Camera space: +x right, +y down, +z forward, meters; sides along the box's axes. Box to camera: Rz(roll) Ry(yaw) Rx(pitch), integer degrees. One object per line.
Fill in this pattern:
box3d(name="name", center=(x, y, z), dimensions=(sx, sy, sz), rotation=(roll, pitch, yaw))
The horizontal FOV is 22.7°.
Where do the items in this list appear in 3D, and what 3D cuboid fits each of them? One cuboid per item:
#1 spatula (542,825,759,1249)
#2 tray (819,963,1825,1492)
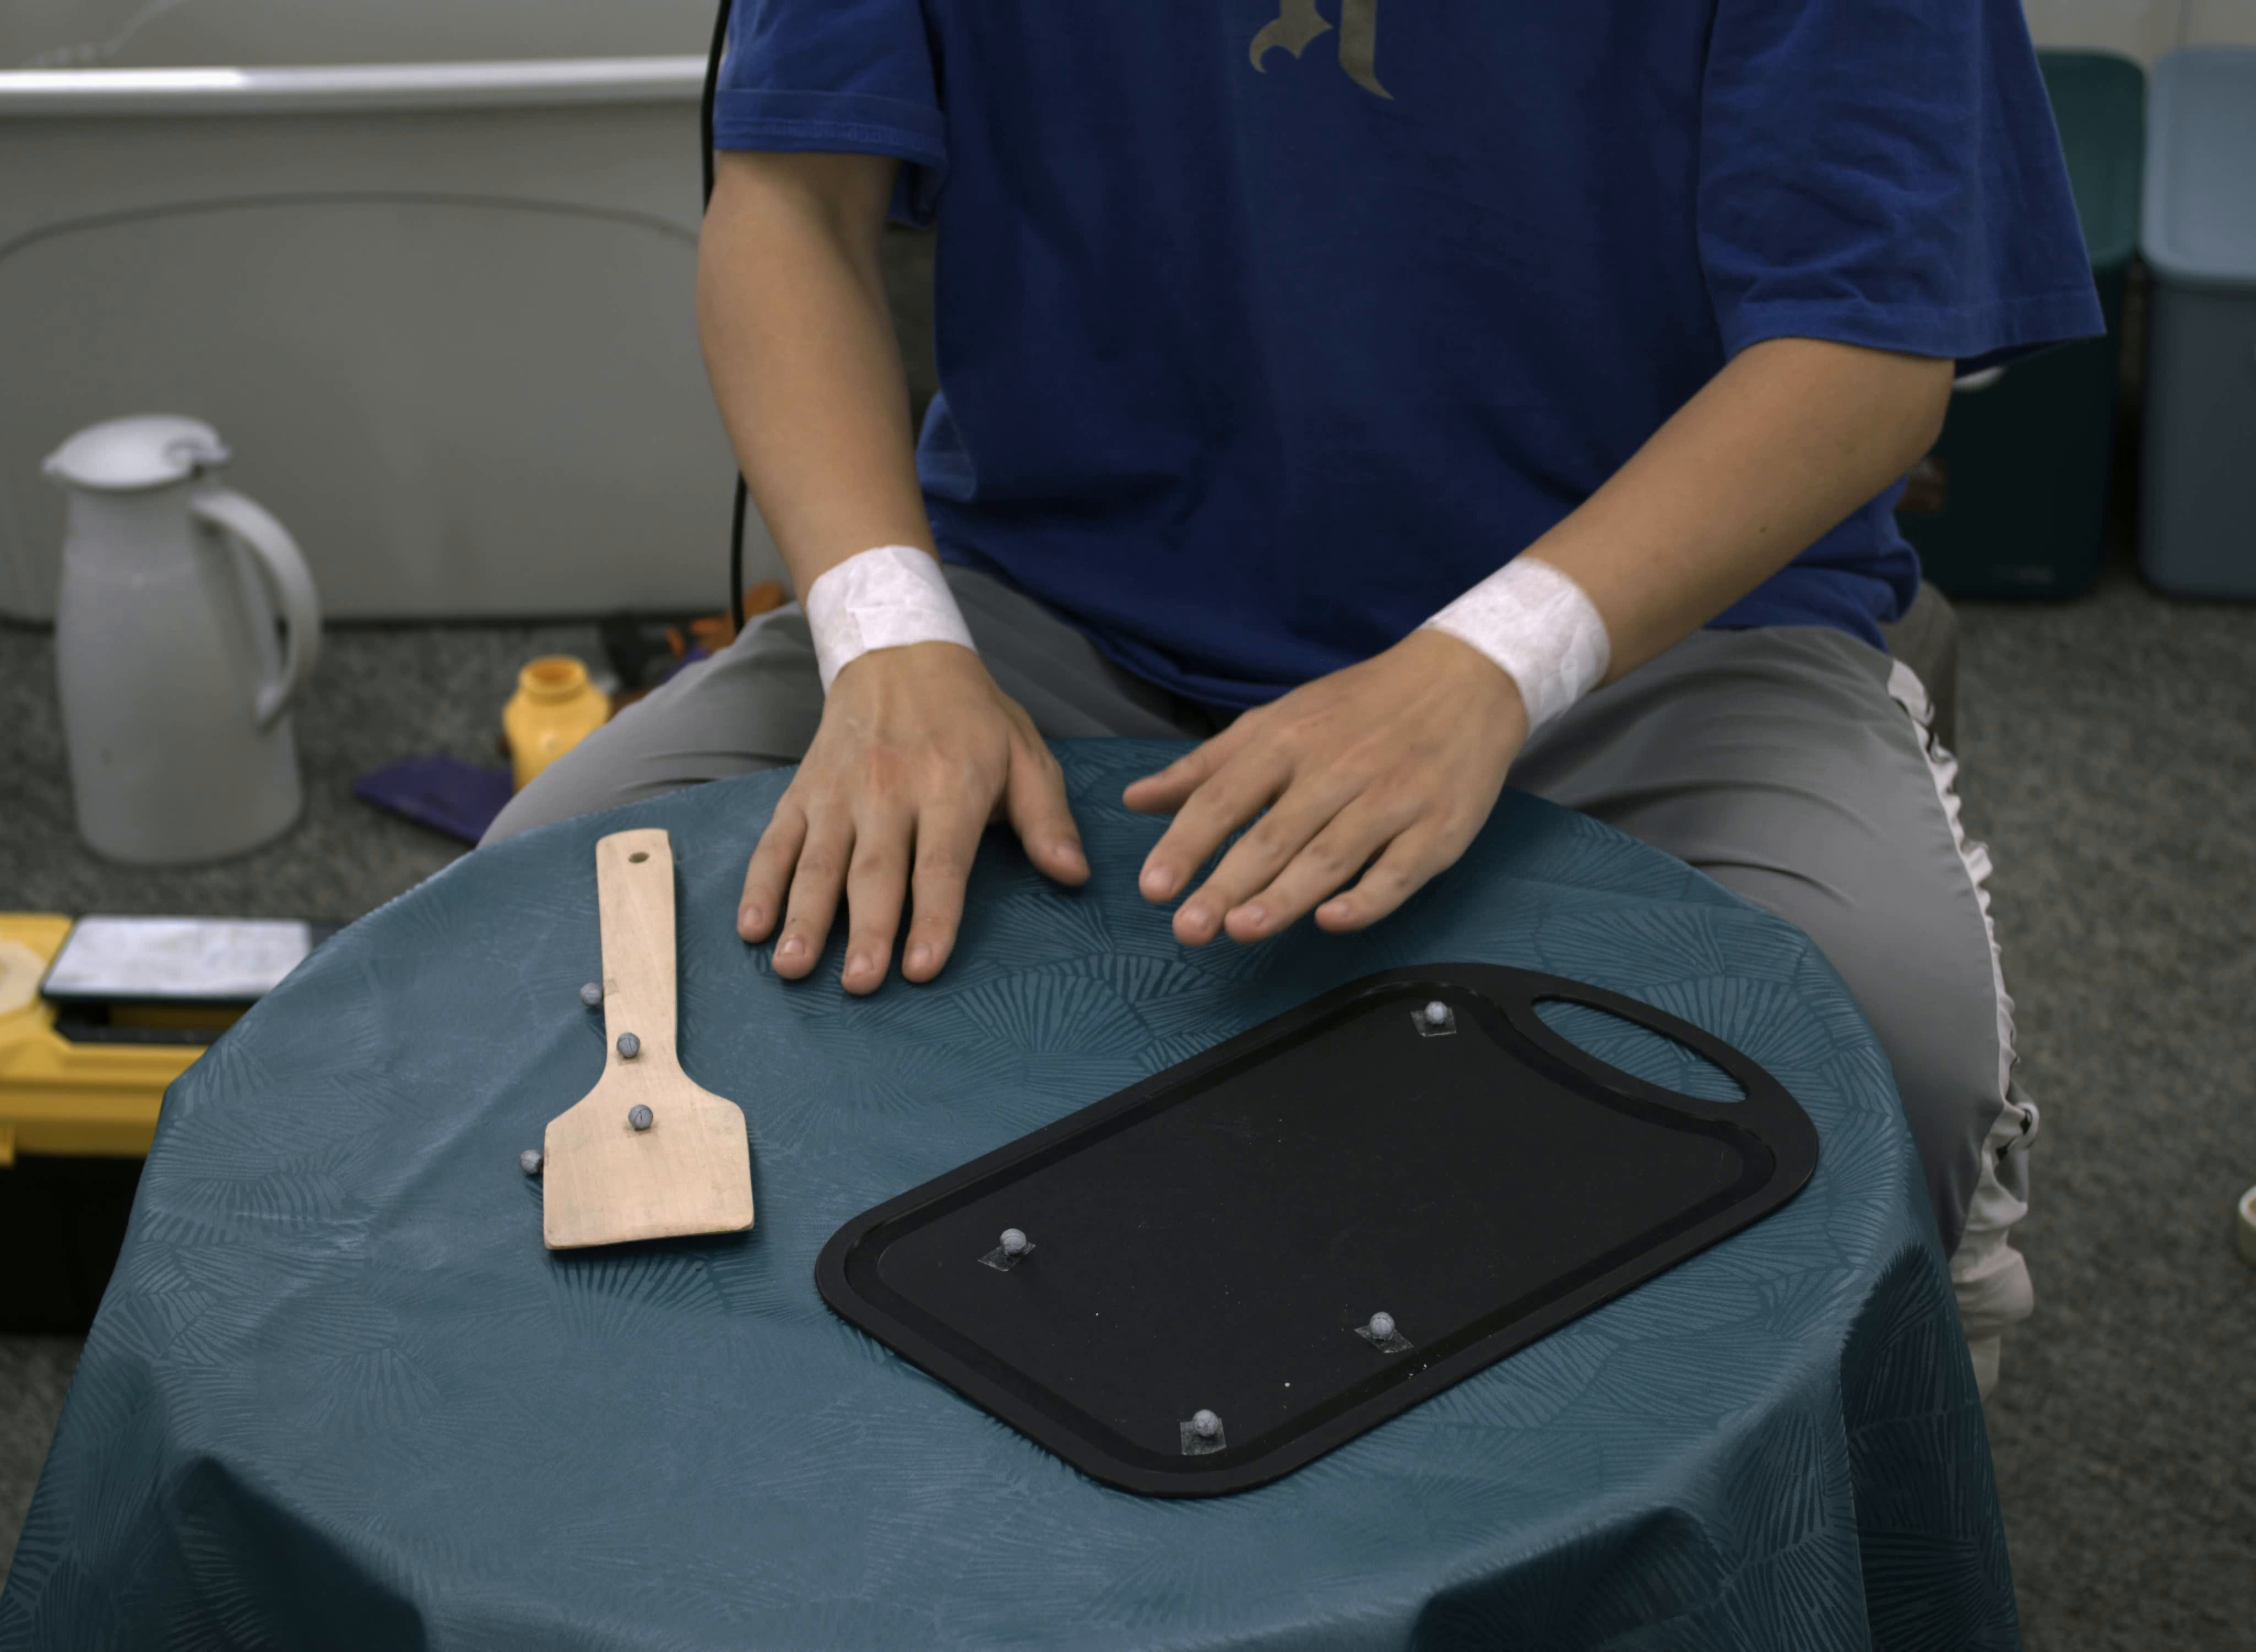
box3d(name="spatula", center=(-0.170, 0.070, 1.968), dimensions=(0.072, 0.010, 0.297), rotation=(-6, 28, -3))
box3d(name="tray", center=(0.070, 0.121, 1.847), dimensions=(0.329, 0.009, 0.211), rotation=(-23, 33, -34))
